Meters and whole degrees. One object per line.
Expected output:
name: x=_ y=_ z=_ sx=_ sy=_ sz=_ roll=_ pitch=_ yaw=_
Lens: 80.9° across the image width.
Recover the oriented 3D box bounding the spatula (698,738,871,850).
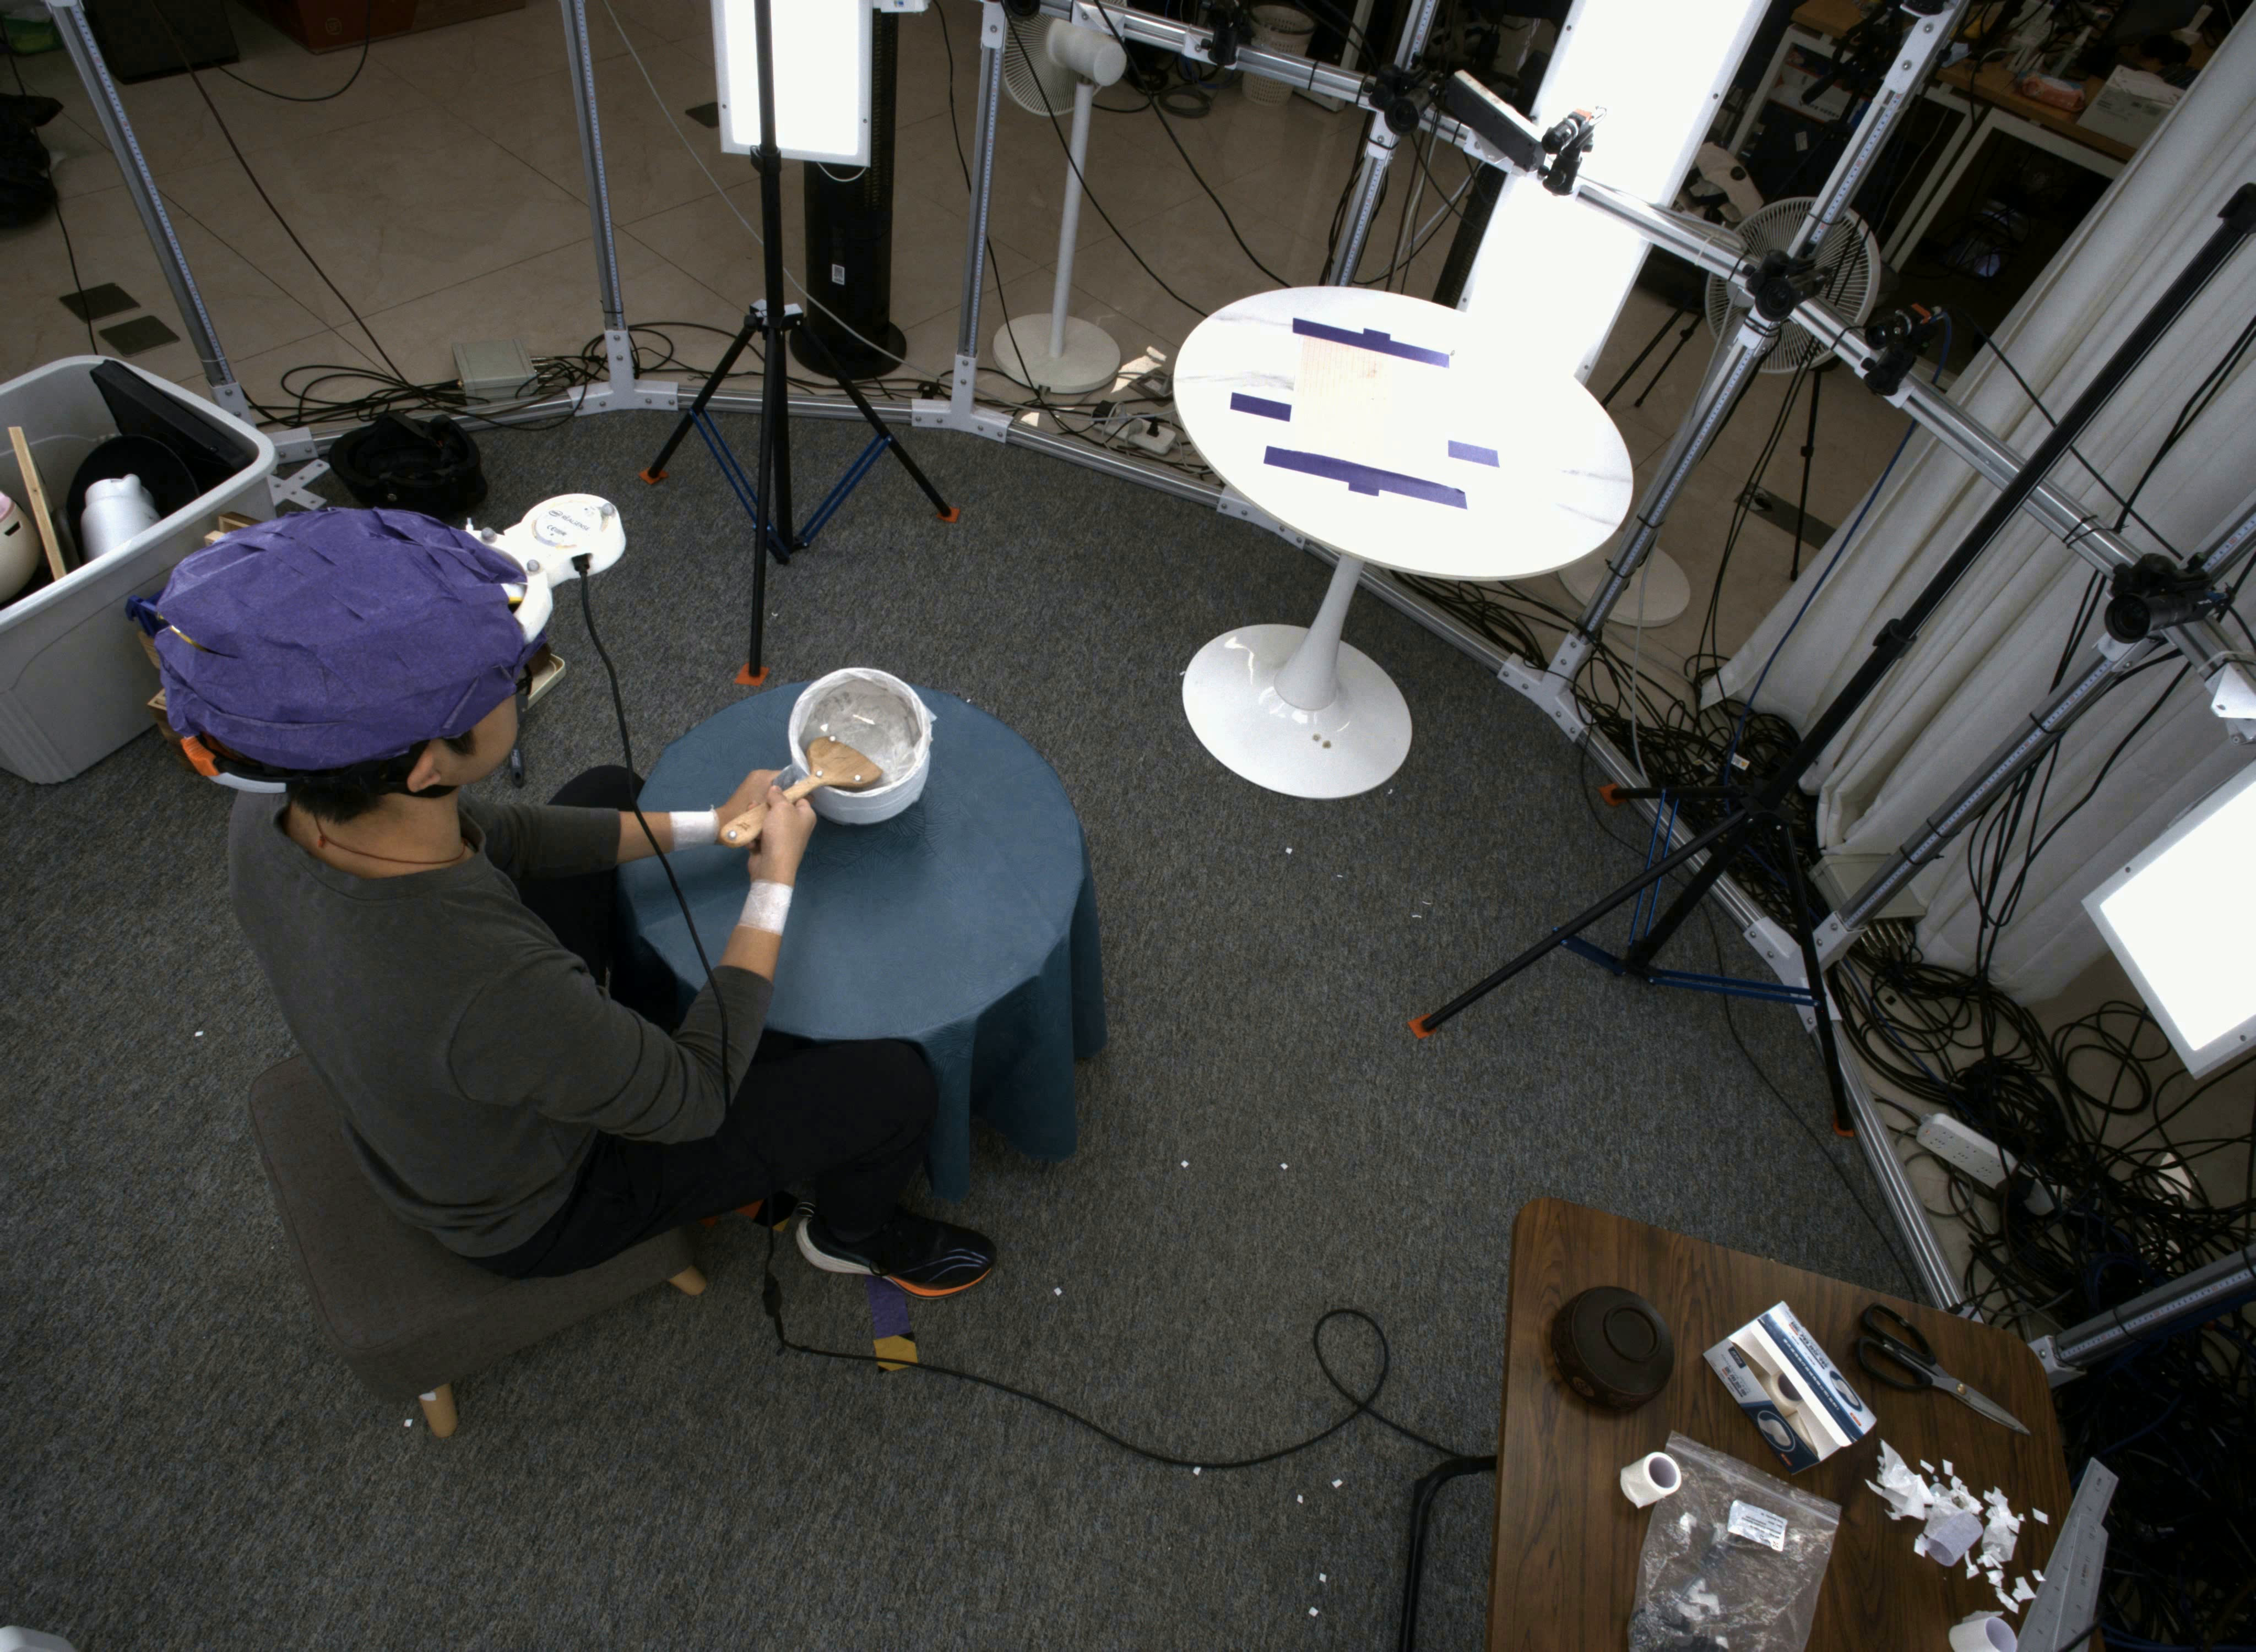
spatula: x=-0.403 y=-0.037 z=1.517 sx=0.095 sy=0.018 sz=0.387 roll=31 pitch=18 yaw=-1

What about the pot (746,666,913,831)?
pot: x=-0.389 y=-0.081 z=1.674 sx=0.234 sy=0.137 sz=0.177 roll=-37 pitch=81 yaw=-21
